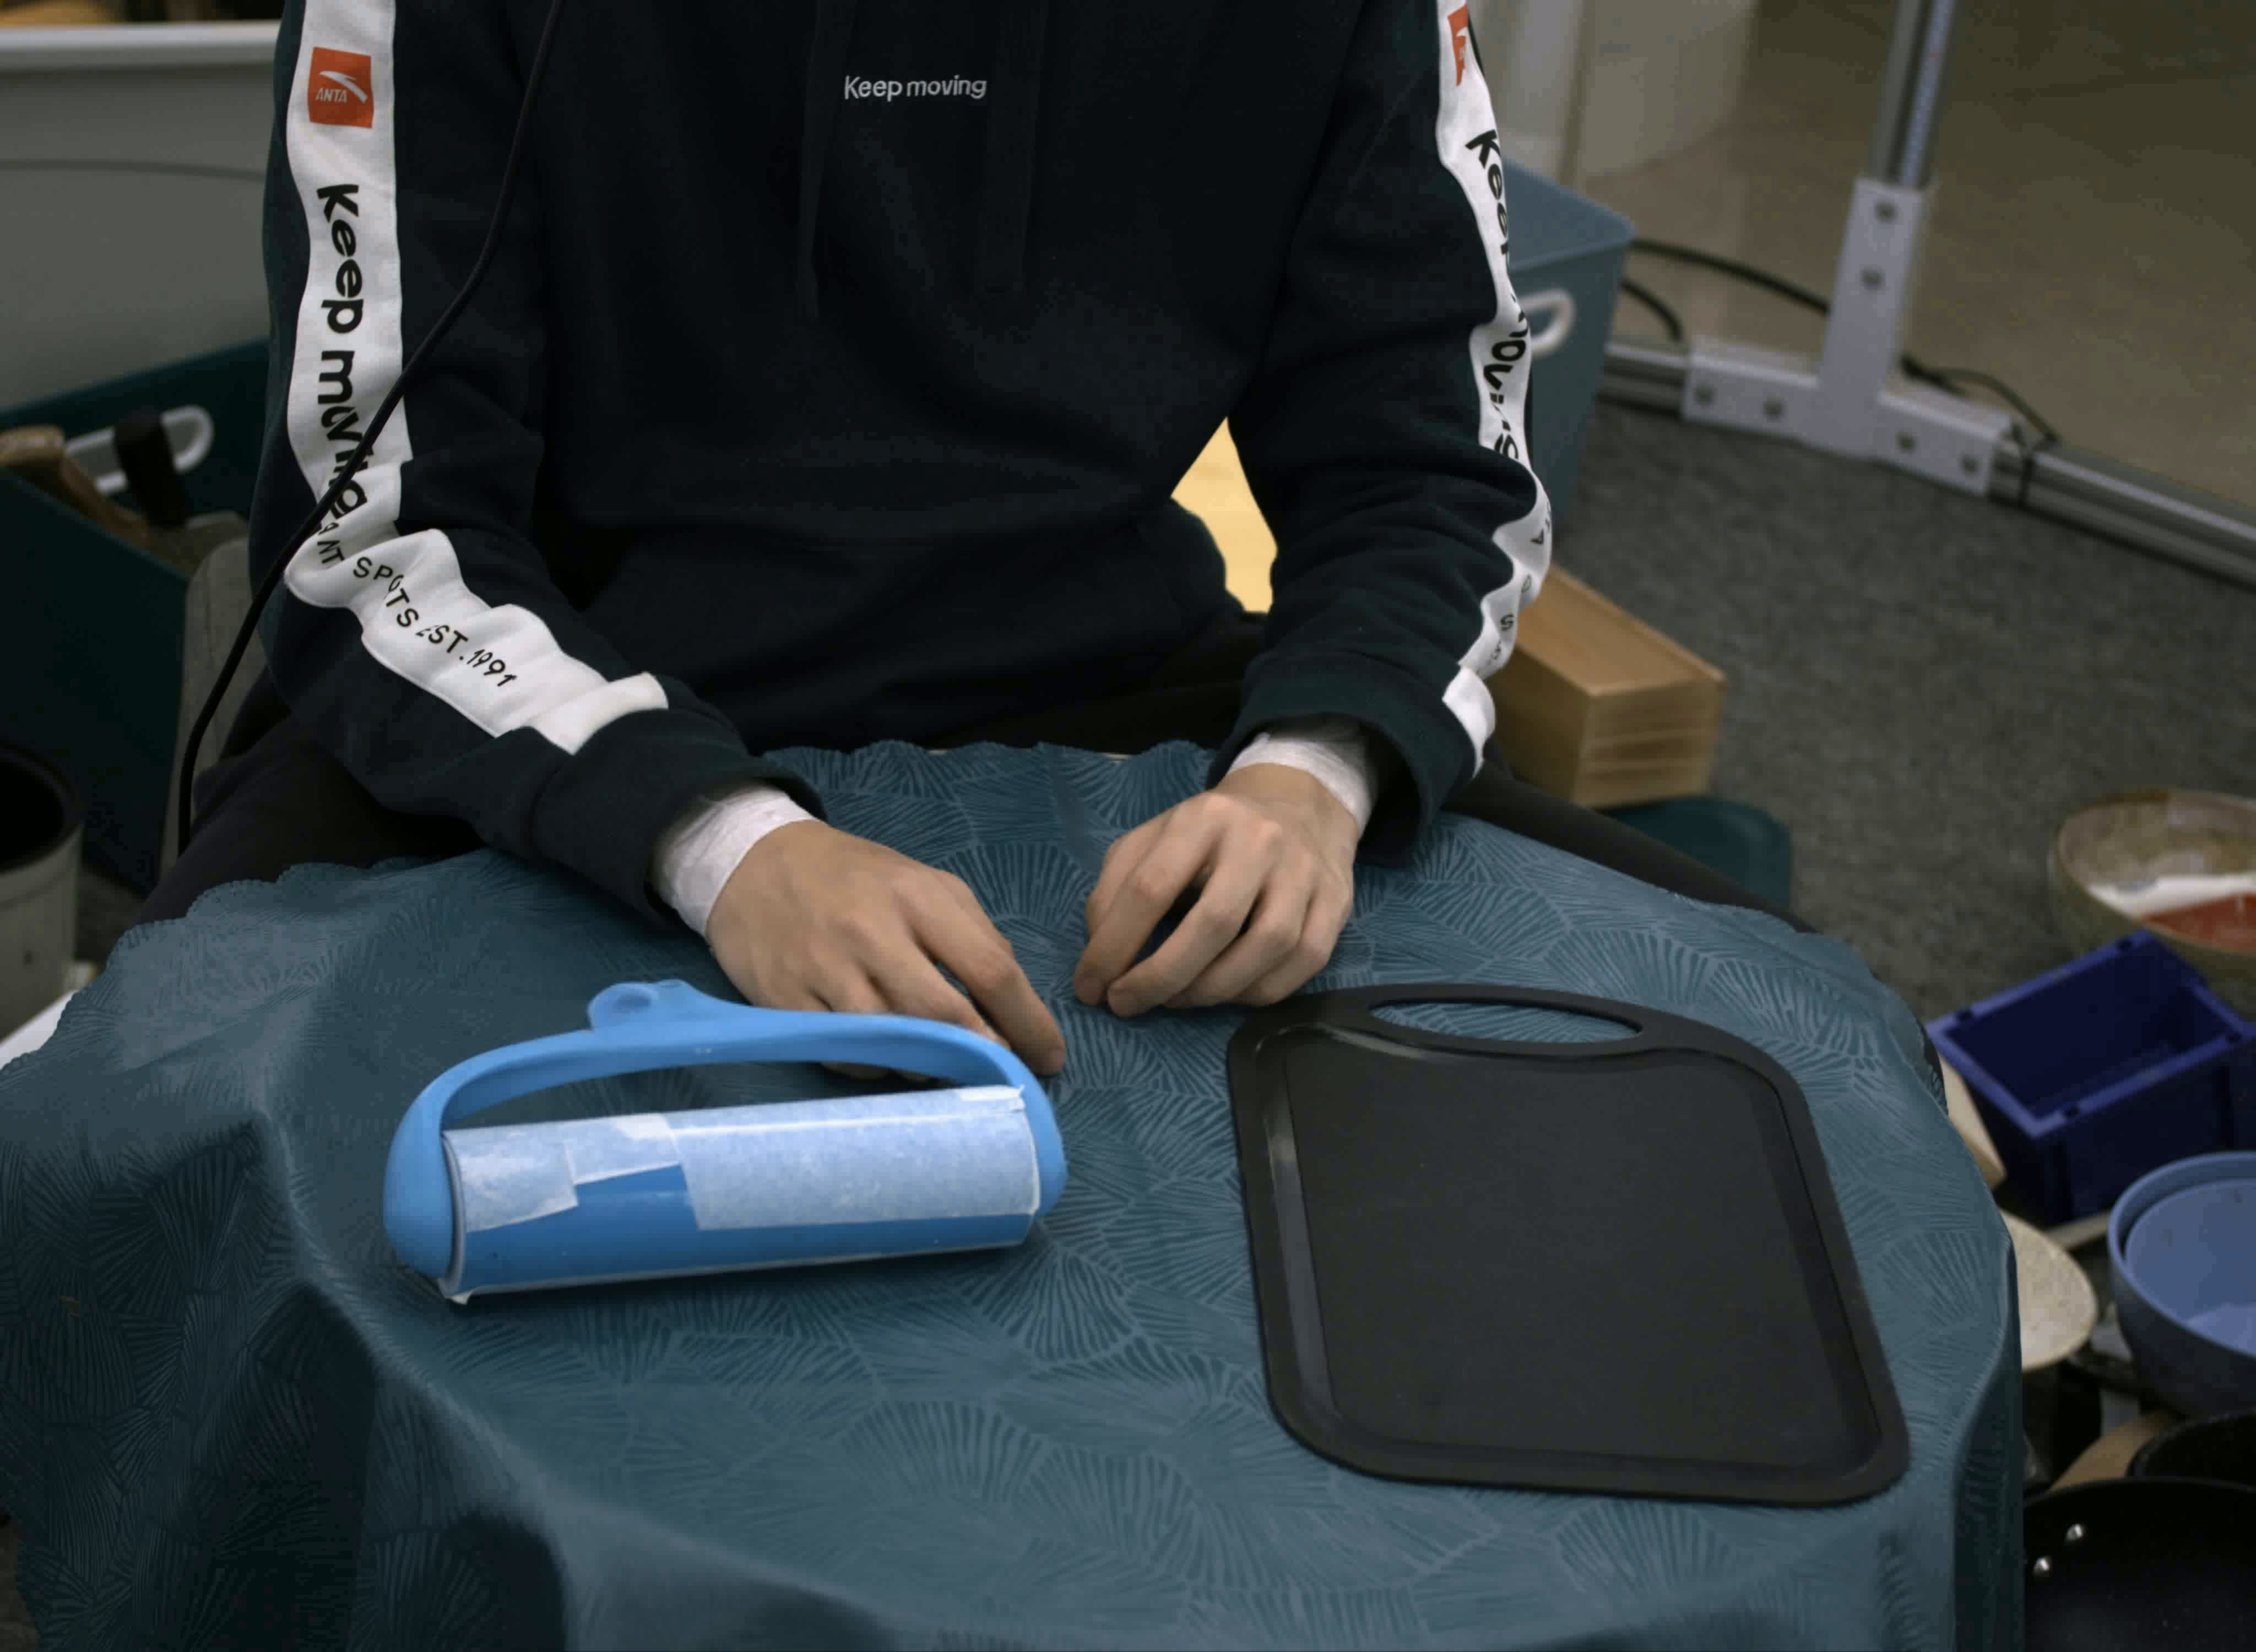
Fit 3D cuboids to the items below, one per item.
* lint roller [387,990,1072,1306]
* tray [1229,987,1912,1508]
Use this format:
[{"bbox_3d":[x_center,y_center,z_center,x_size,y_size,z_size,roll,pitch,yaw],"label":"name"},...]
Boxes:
[{"bbox_3d":[-0.149,0.090,1.770,0.227,0.067,0.182,-7,31,-21],"label":"lint roller"},{"bbox_3d":[0.143,0.133,1.804,0.210,0.010,0.327,4,27,-4],"label":"tray"}]
